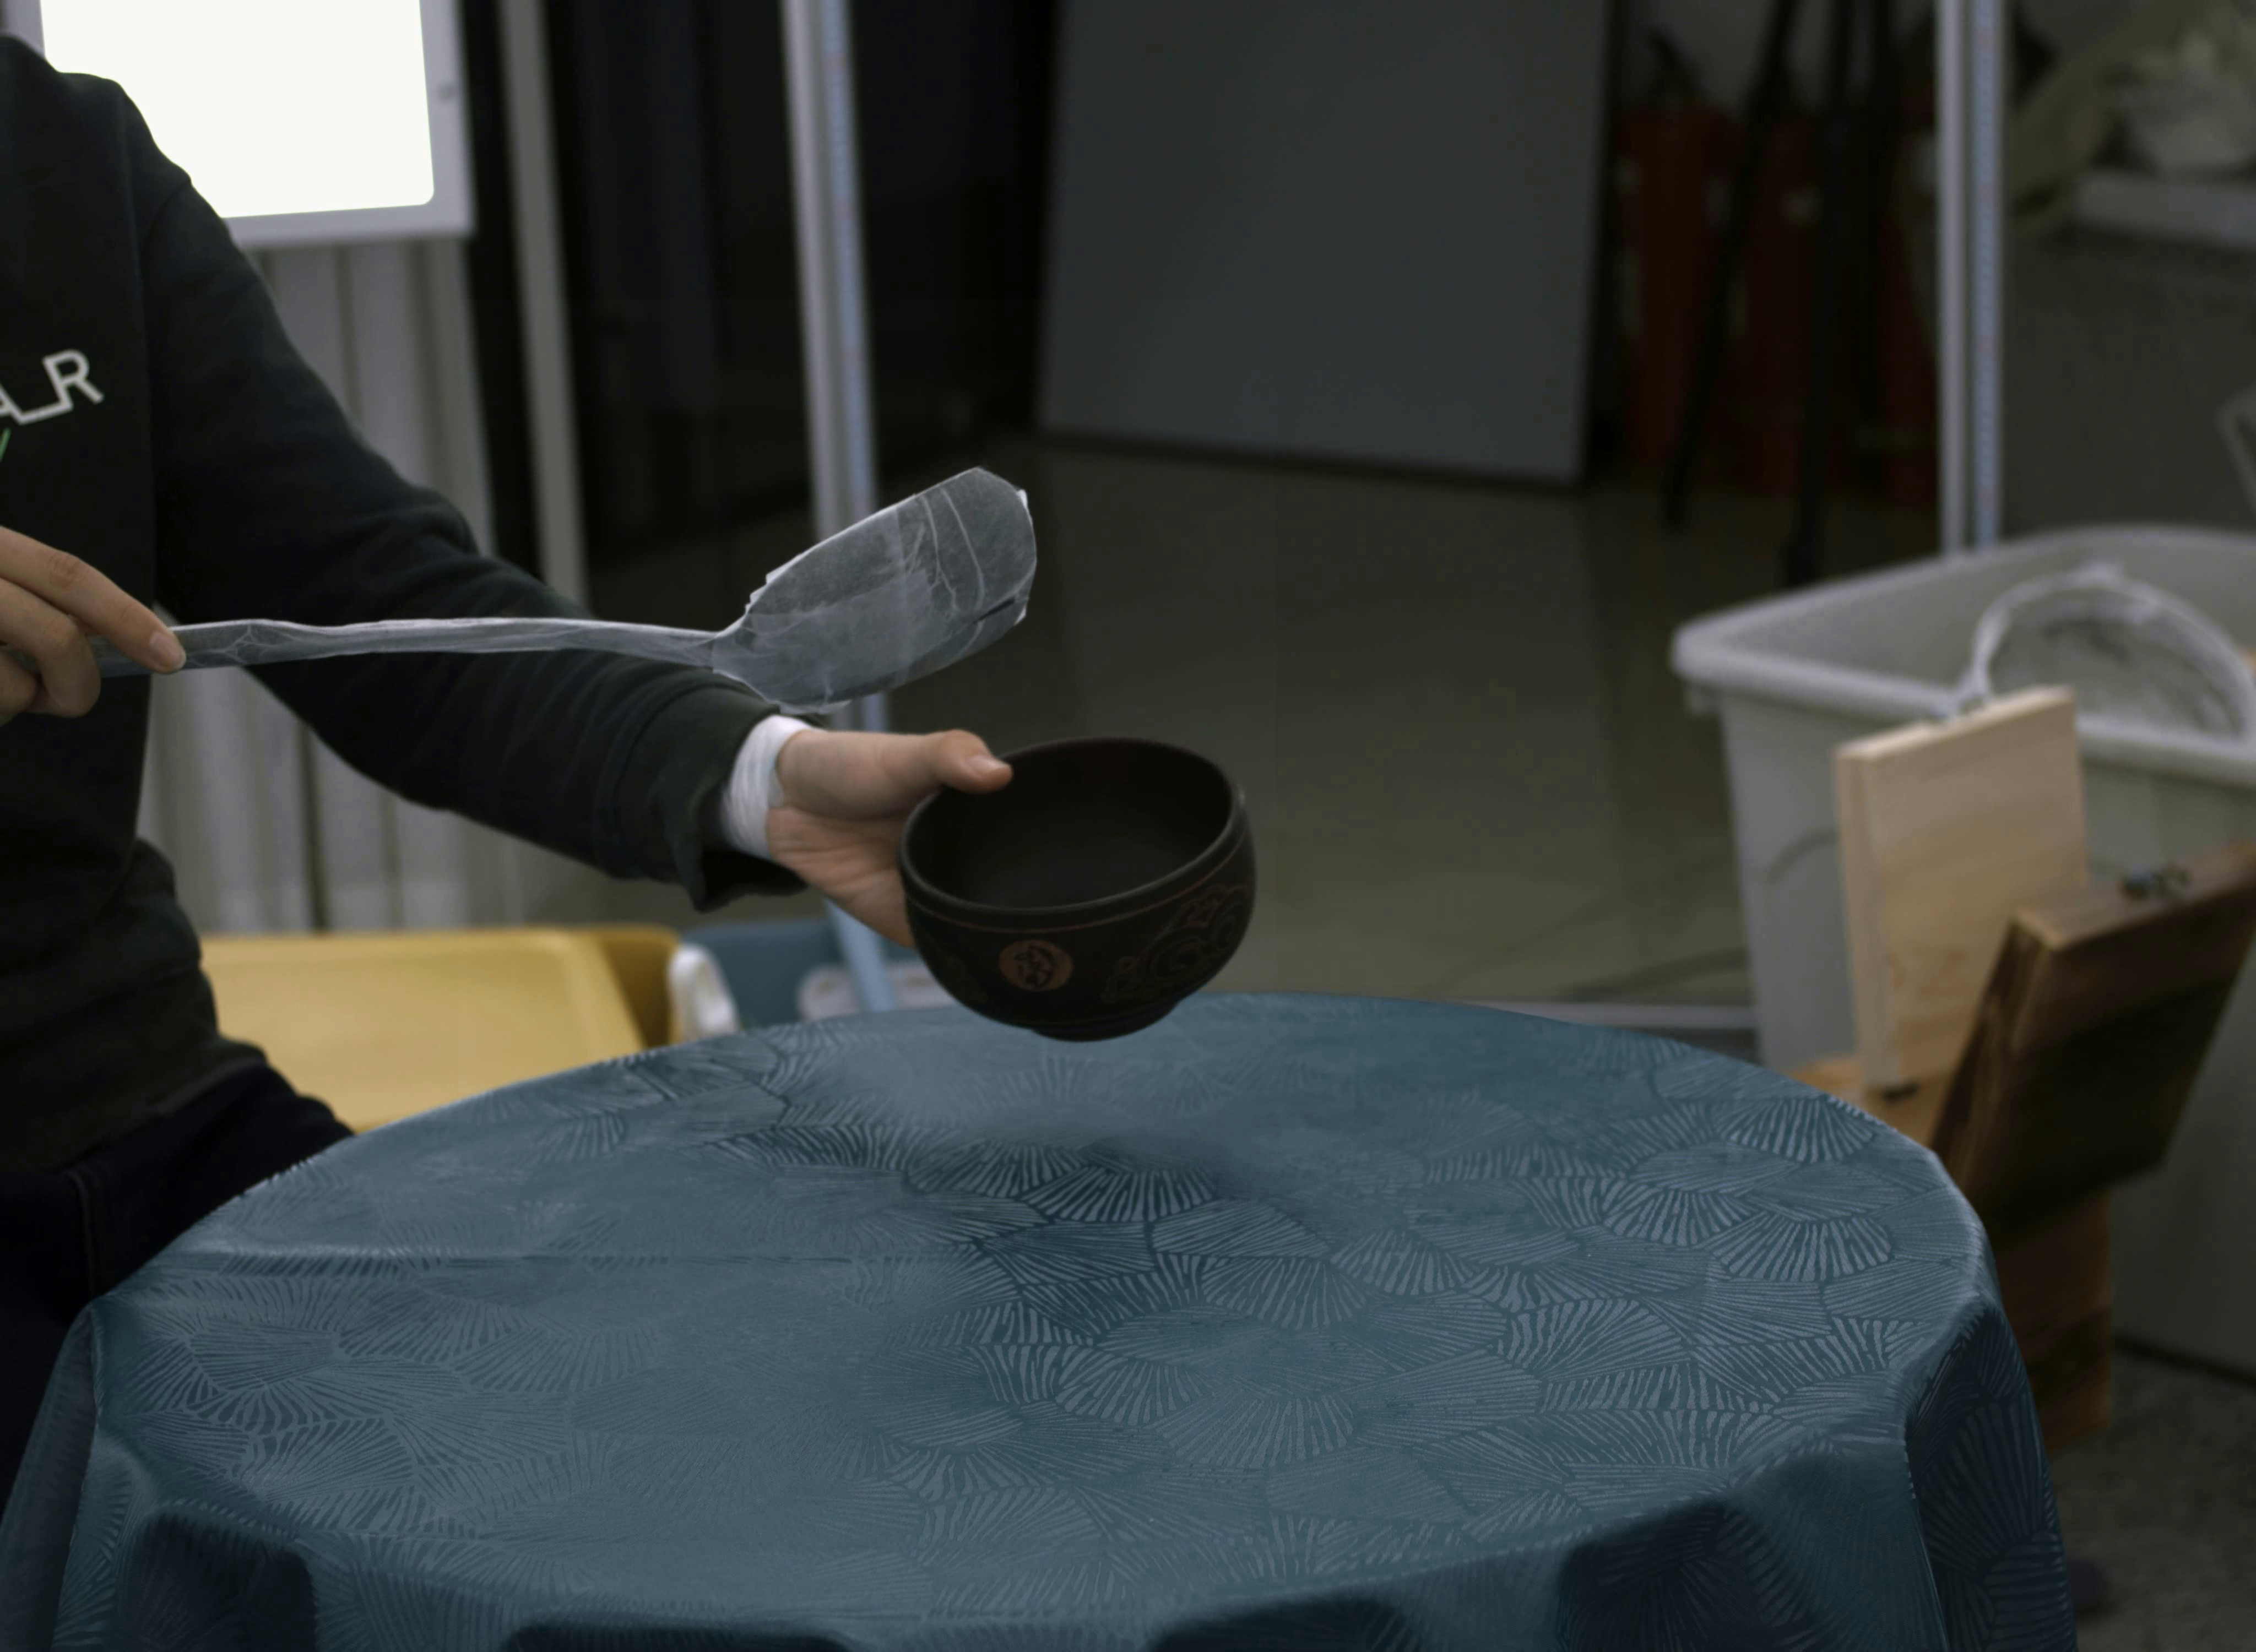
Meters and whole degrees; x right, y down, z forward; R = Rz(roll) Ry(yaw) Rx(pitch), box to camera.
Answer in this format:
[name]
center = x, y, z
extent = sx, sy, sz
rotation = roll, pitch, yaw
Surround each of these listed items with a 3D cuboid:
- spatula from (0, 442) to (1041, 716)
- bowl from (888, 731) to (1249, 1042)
[spatula]
center = -0.205, -0.064, 1.696
extent = 0.360, 0.099, 0.045
rotation = -4, 57, 1
[bowl]
center = -0.017, 0.027, 1.765
extent = 0.117, 0.070, 0.118
rotation = -9, 27, 4
